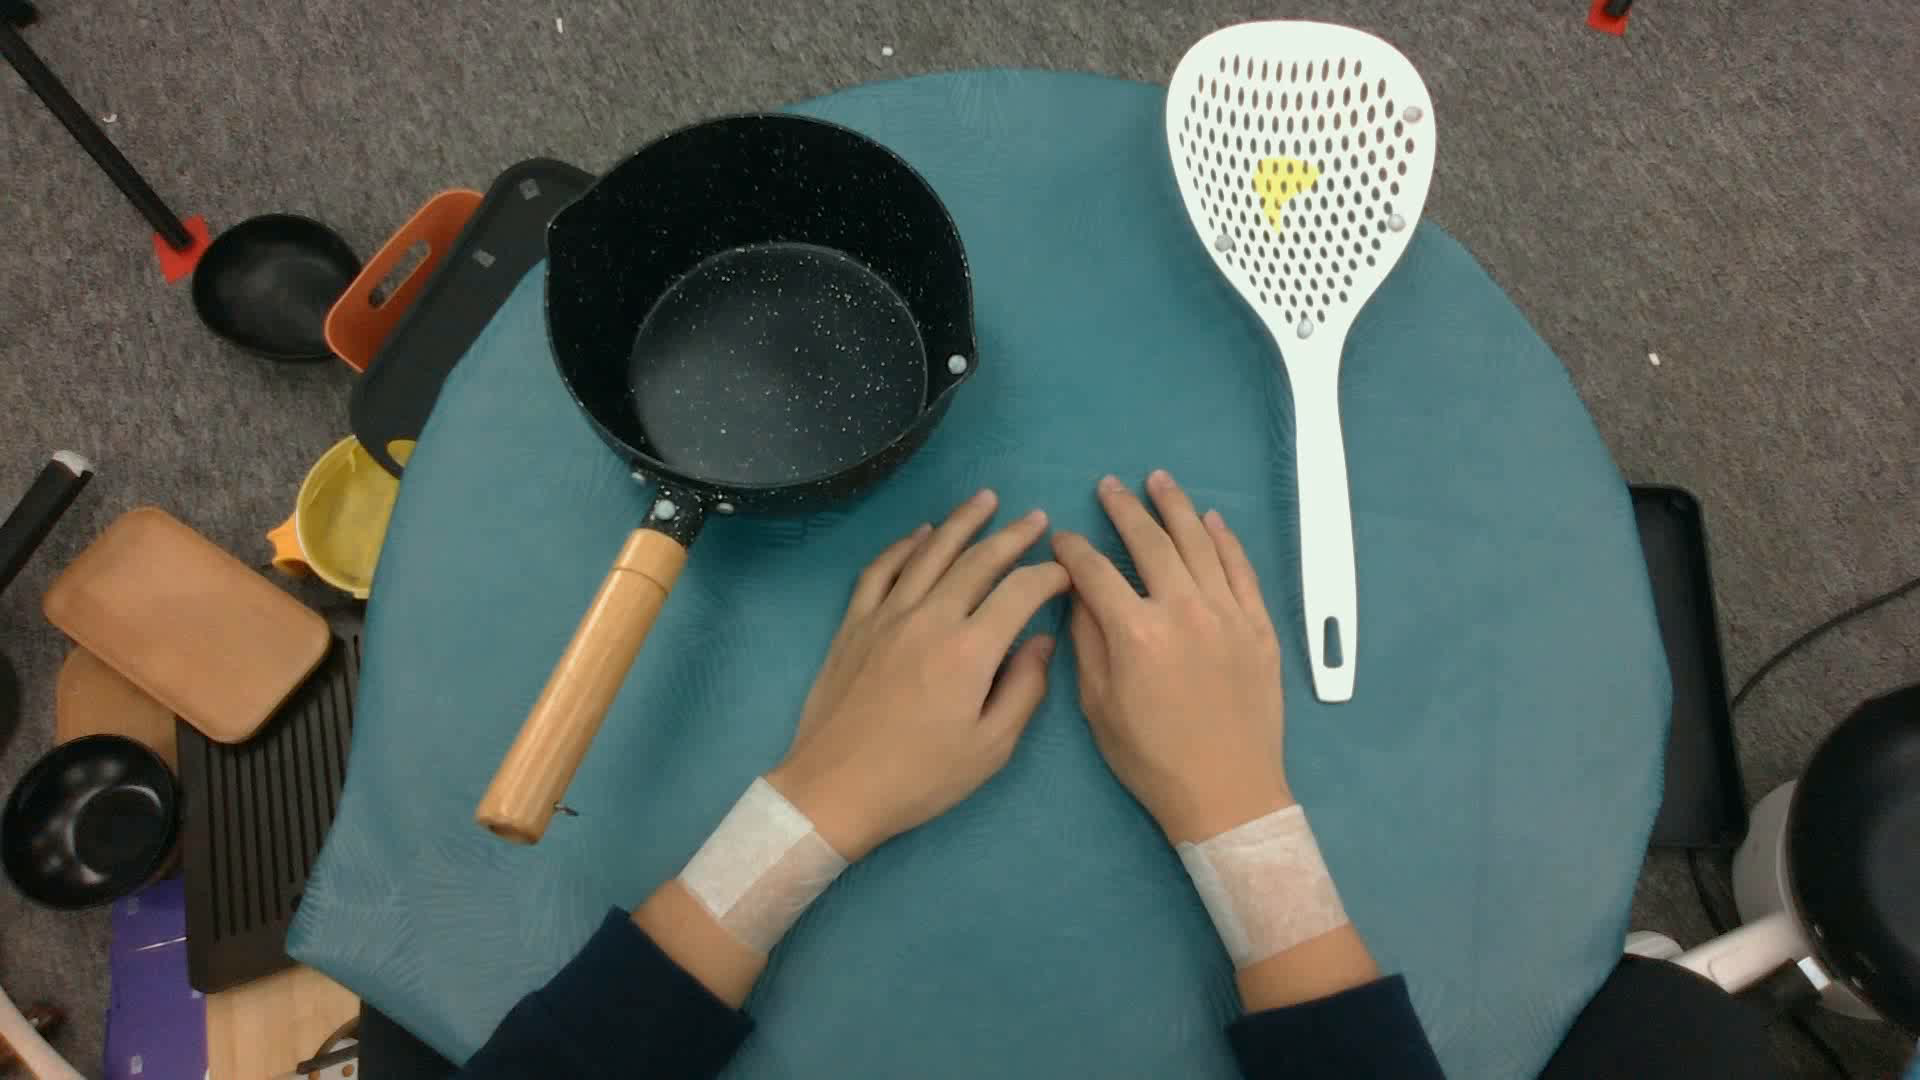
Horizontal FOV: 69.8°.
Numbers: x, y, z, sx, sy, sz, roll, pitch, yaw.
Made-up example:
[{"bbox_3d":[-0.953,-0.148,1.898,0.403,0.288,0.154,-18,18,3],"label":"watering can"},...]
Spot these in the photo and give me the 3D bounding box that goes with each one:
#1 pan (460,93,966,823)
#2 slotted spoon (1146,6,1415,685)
[{"bbox_3d":[-0.118,-0.035,0.600,0.207,0.108,0.344,17,70,3],"label":"pan"},{"bbox_3d":[0.163,-0.105,0.670,0.137,0.050,0.349,0,69,-4],"label":"slotted spoon"}]
